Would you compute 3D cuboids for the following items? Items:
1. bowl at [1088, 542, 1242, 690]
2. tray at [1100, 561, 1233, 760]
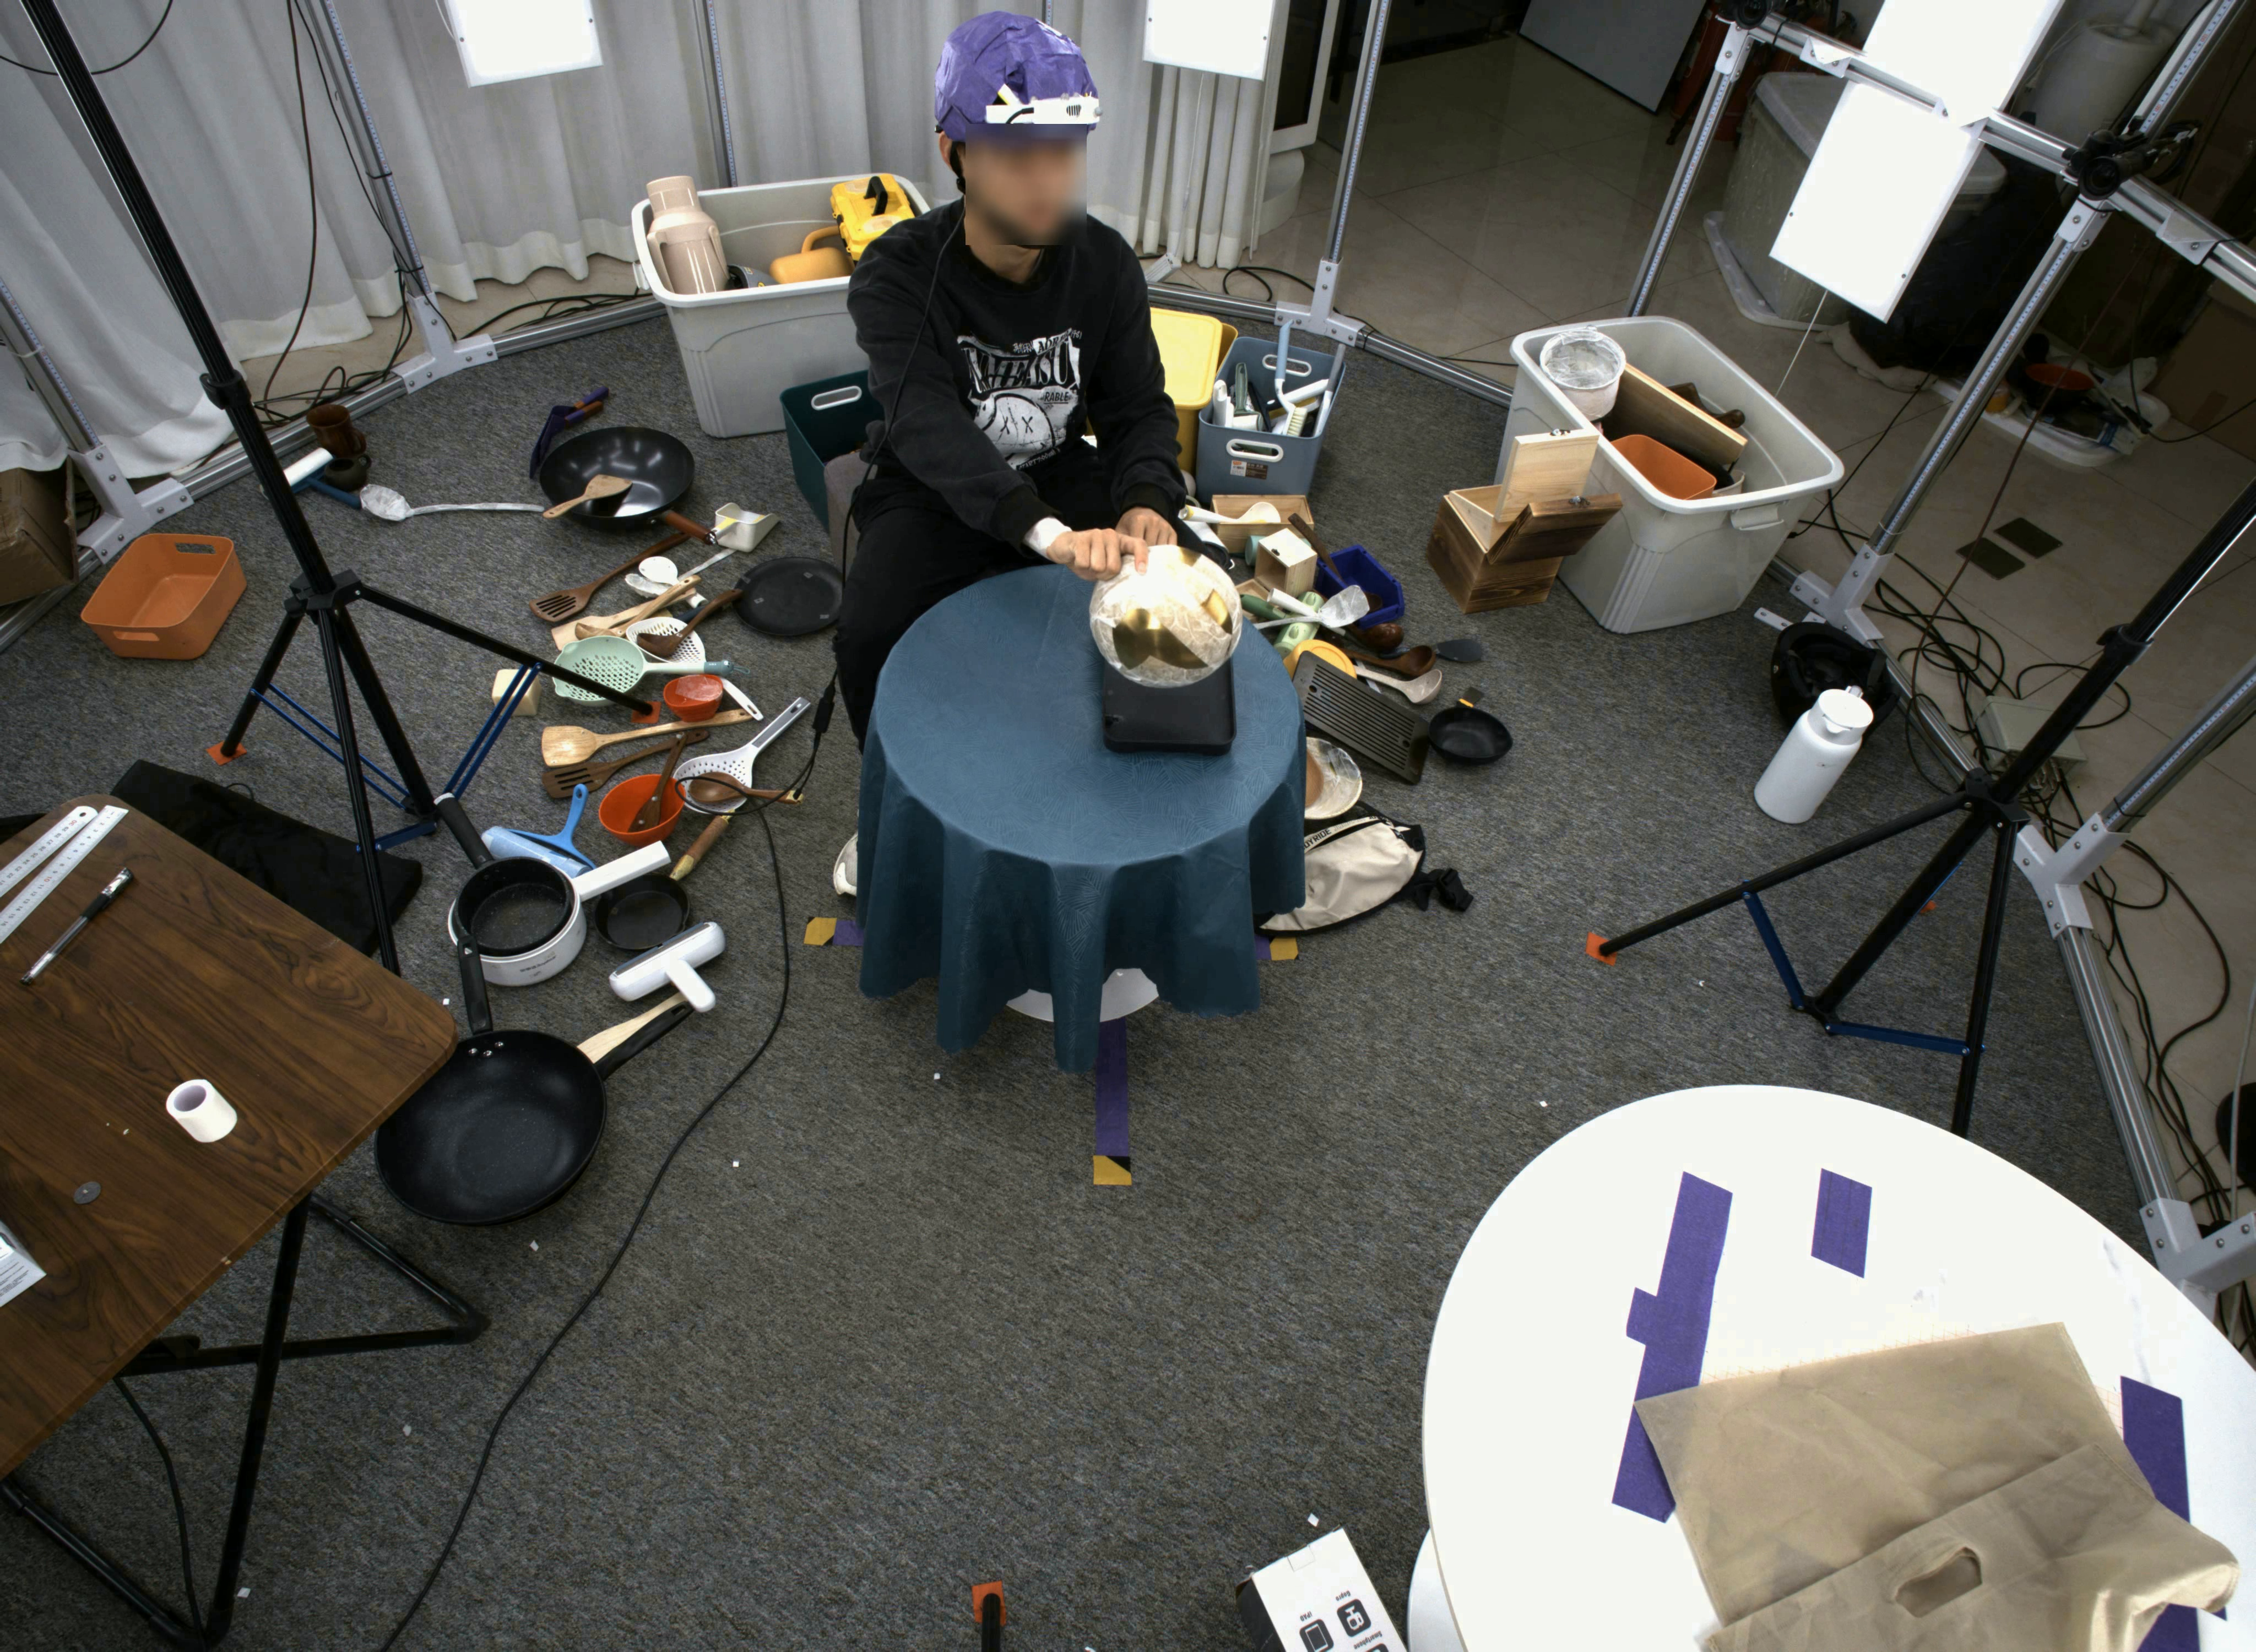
[{"bbox_3d":[0.040,-0.252,1.673,0.215,0.209,0.097,10,40,4],"label":"bowl"},{"bbox_3d":[0.056,-0.242,1.842,0.184,0.036,0.325,4,60,-3],"label":"tray"}]
